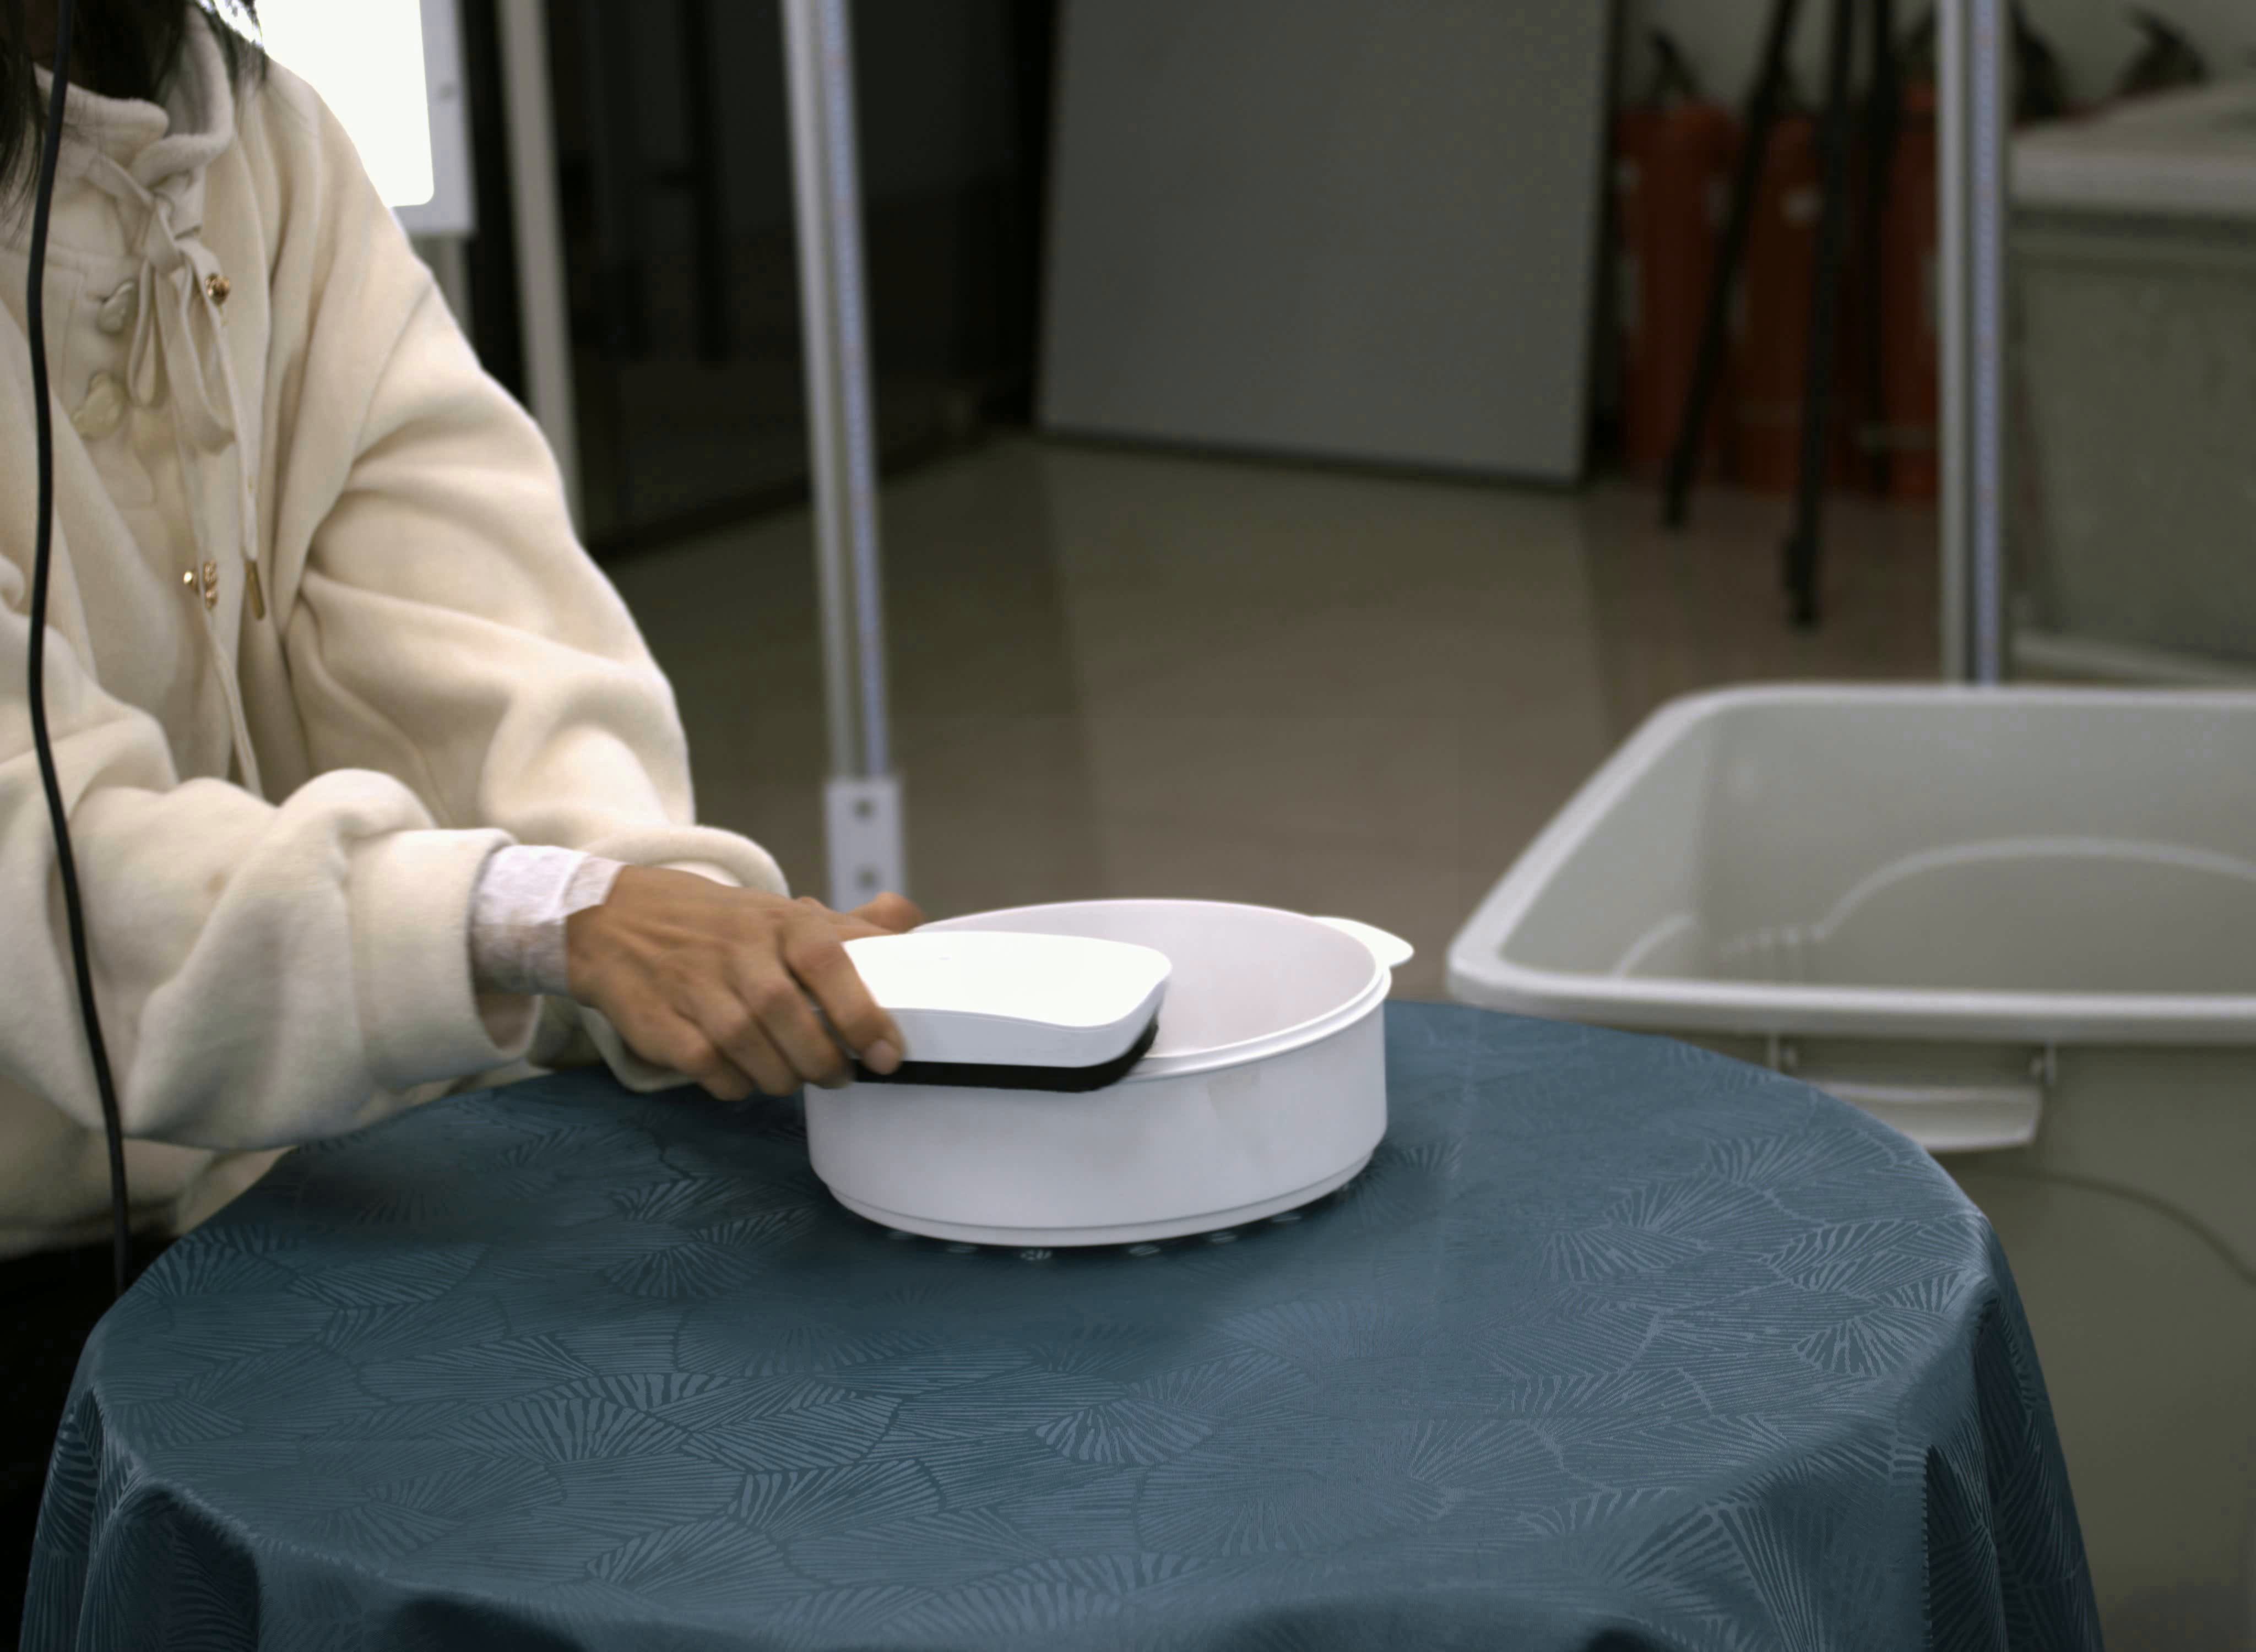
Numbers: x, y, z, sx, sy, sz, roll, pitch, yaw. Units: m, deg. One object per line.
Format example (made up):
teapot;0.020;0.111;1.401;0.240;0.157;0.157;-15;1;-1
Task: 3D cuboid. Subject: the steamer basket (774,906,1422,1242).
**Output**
steamer basket;-0.007;0.082;1.789;0.225;0.070;0.204;-9;14;-26

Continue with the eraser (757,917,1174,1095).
eraser;-0.050;0.057;1.696;0.131;0.035;0.062;2;22;28
